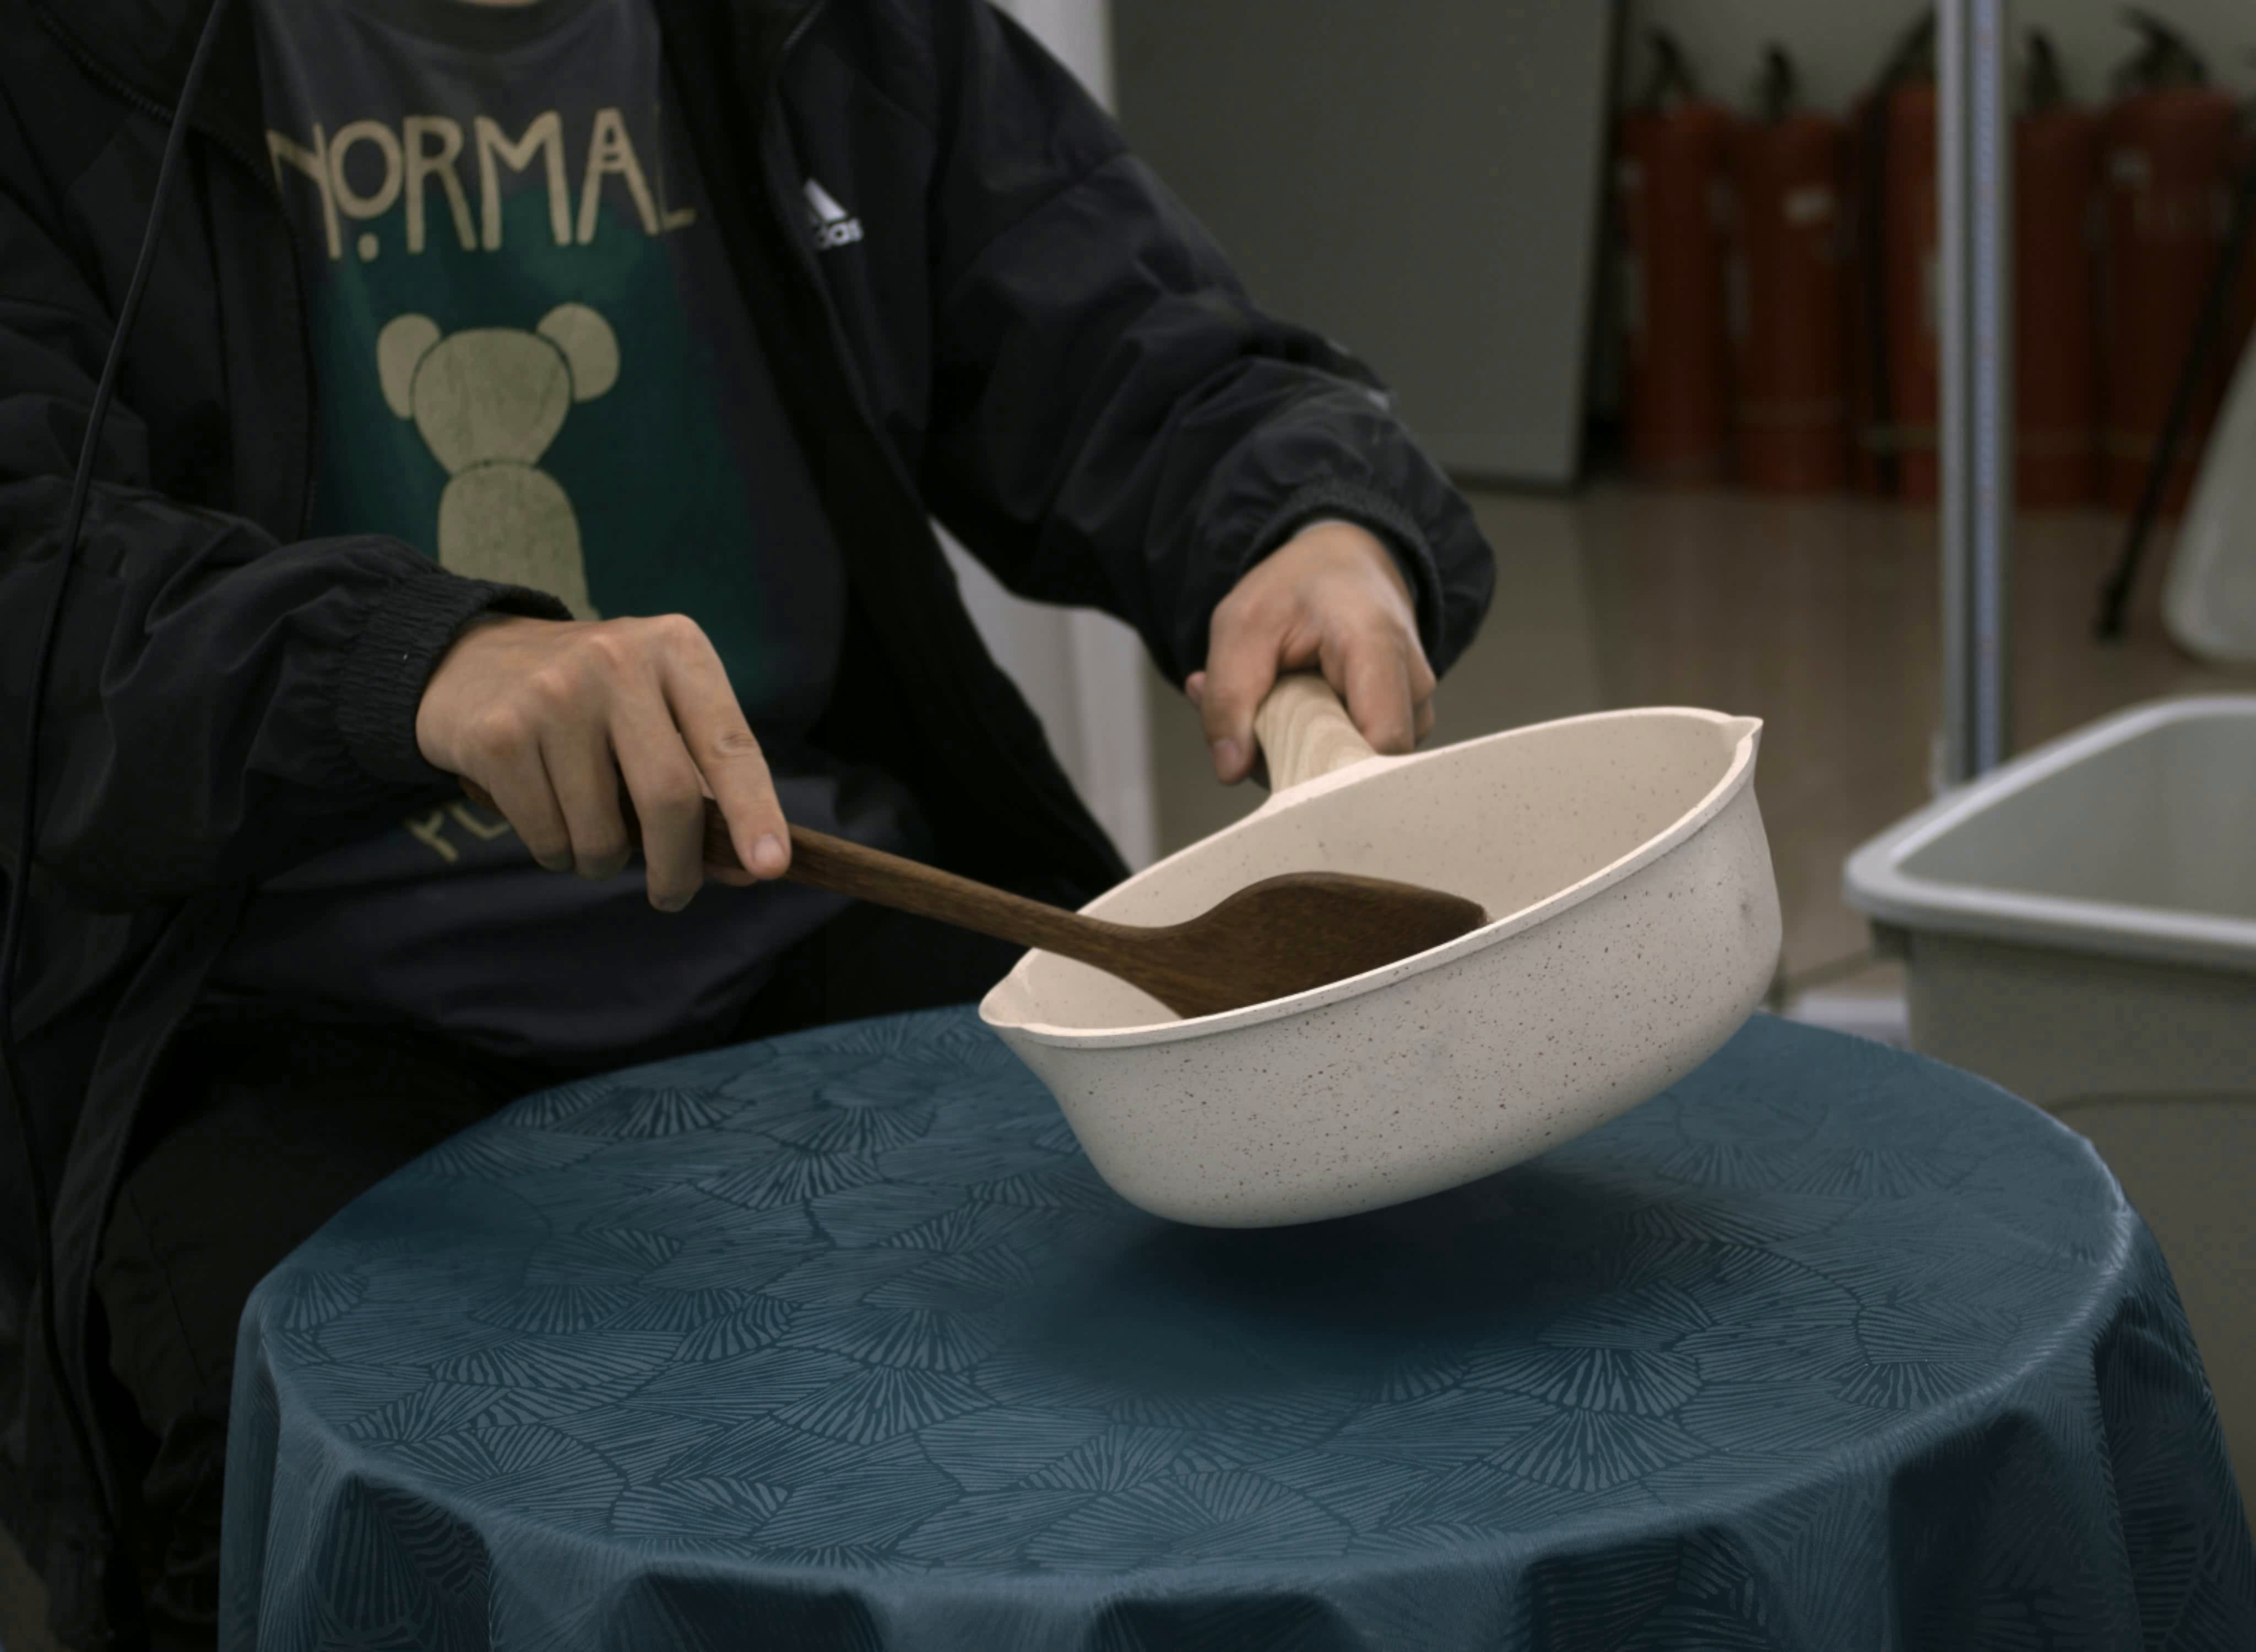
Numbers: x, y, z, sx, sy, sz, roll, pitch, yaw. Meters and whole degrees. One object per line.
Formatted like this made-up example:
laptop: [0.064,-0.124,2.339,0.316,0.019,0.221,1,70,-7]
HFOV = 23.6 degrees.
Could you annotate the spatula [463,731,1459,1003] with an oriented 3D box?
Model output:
spatula: [-0.056,0.019,1.698,0.388,0.097,0.015,14,33,31]

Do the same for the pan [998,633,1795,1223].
pan: [0.084,0.019,1.775,0.261,0.102,0.436,-23,12,1]
